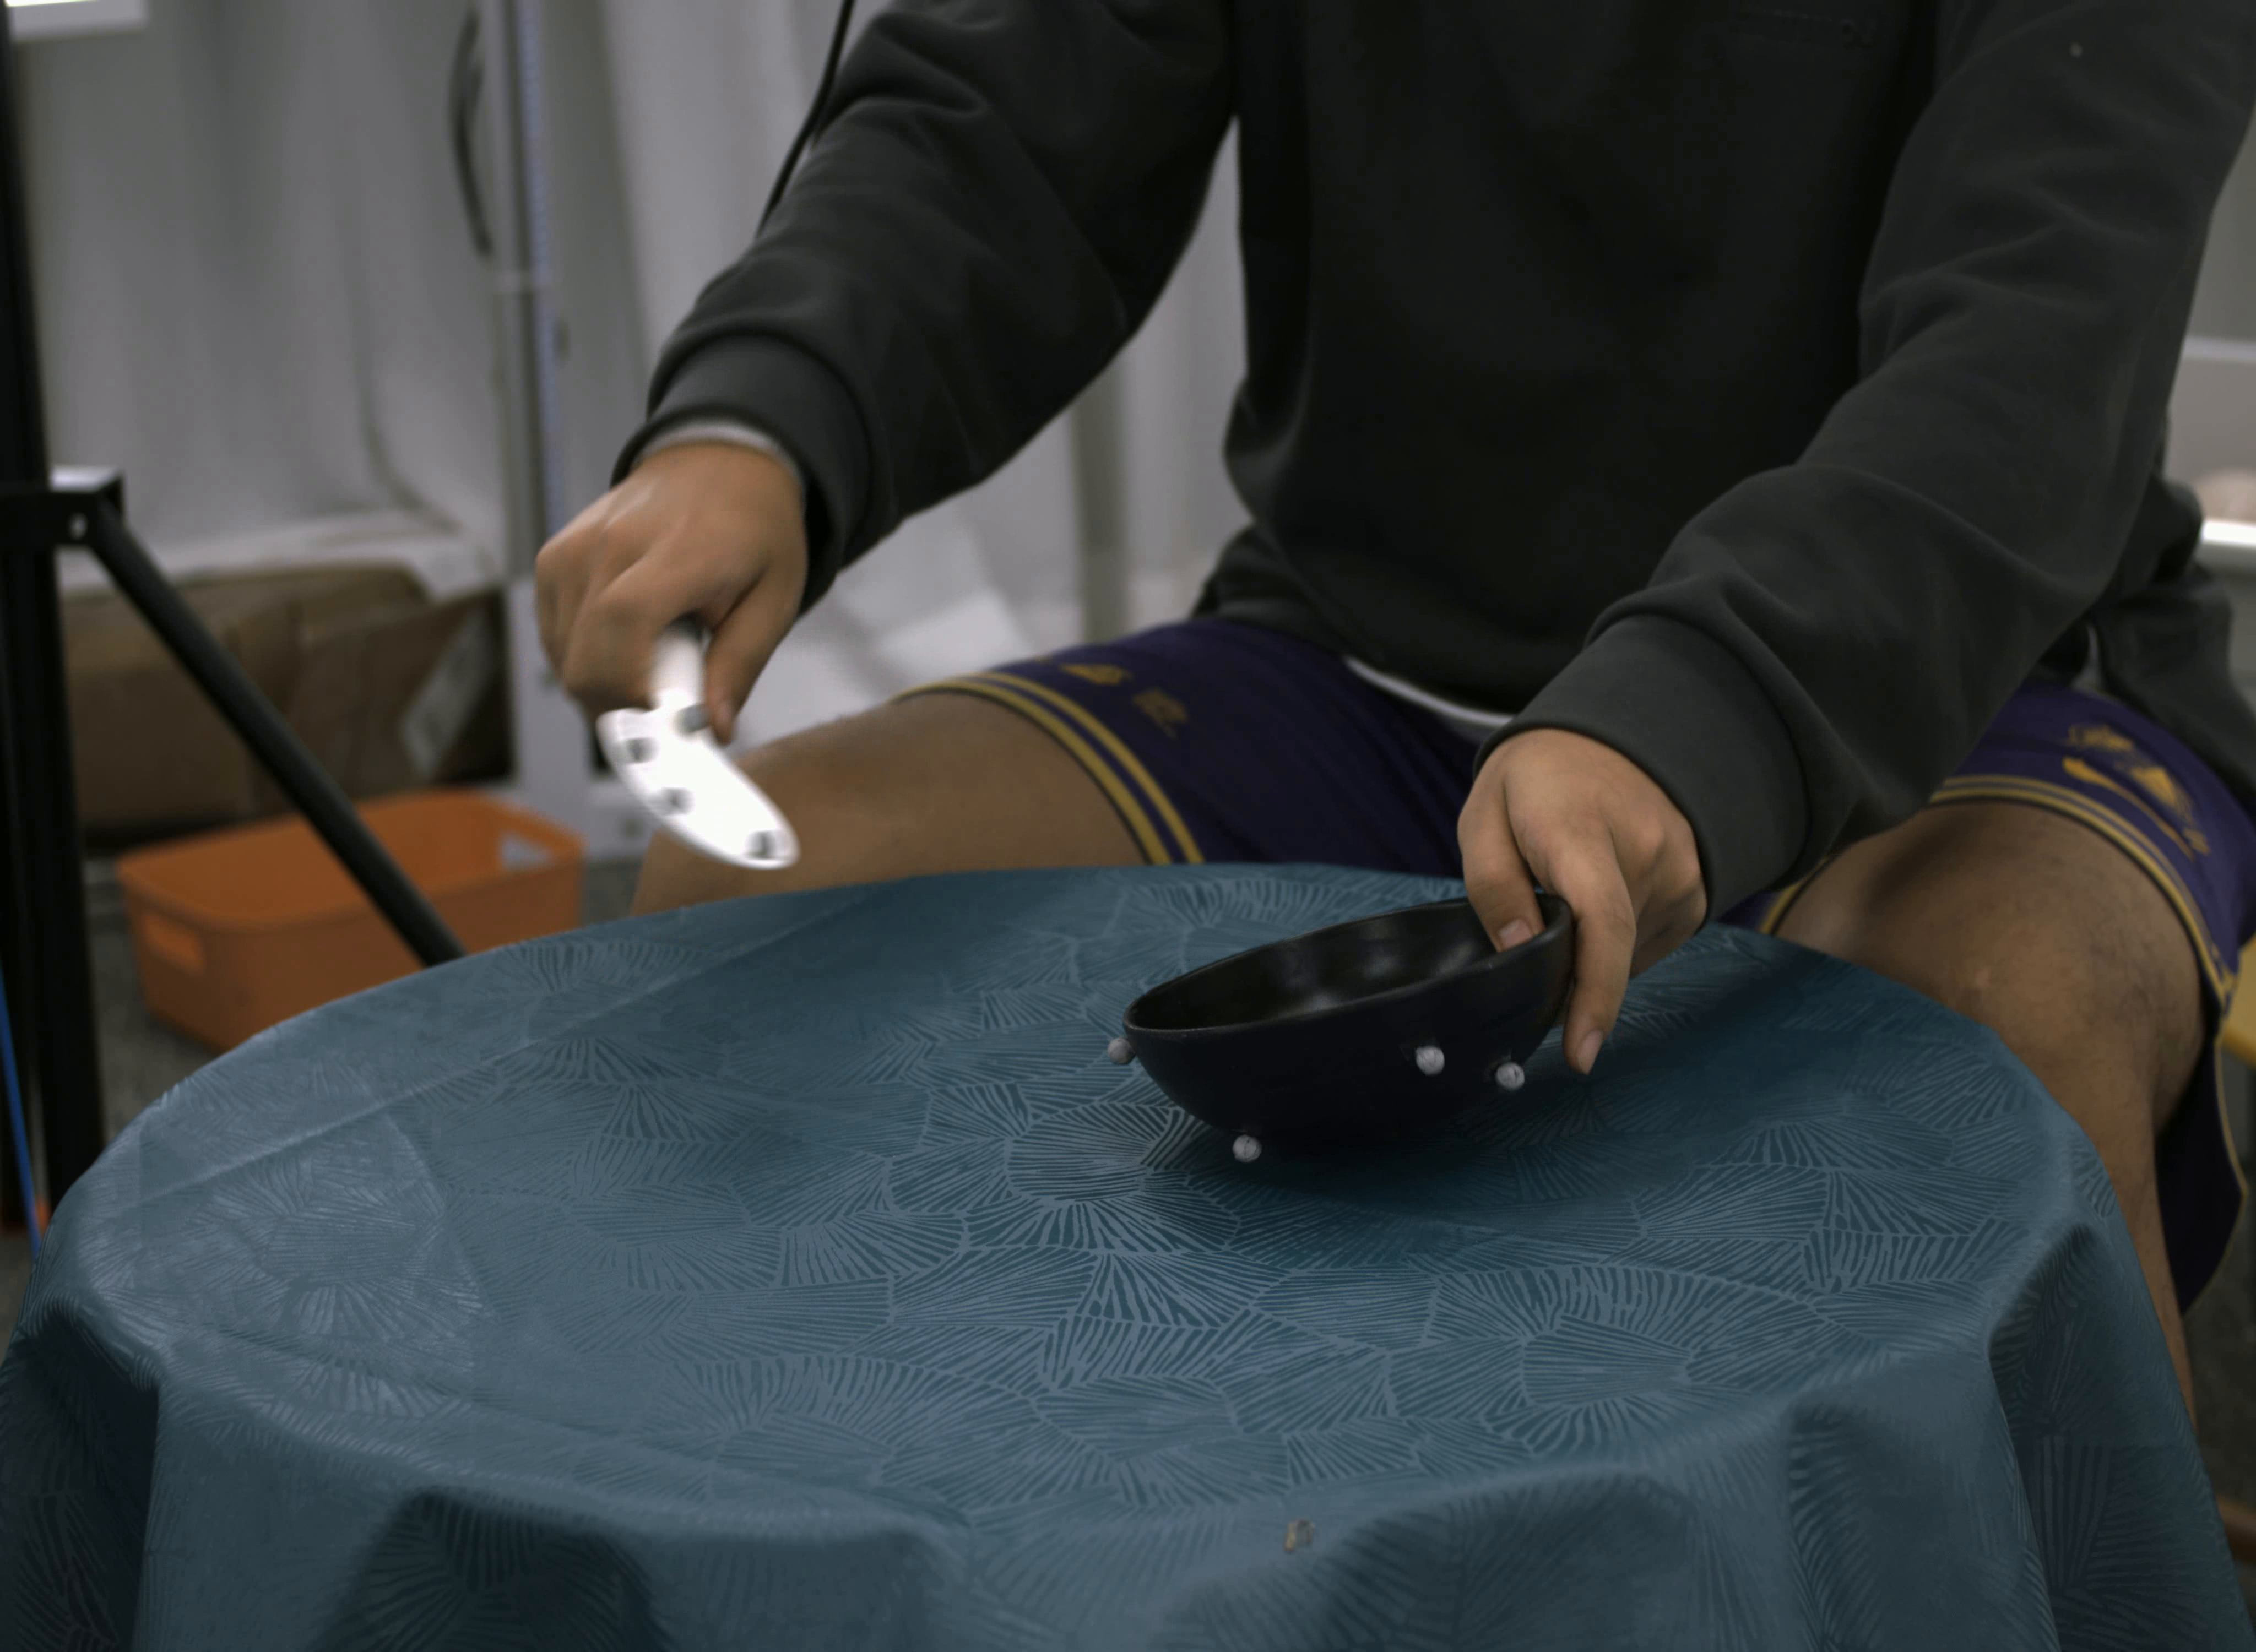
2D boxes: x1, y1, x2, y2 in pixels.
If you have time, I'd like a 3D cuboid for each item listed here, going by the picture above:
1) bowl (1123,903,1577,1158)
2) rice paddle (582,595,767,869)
[{"bbox_3d":[0.071,0.065,1.584,0.139,0.050,0.140,-14,7,0],"label":"bowl"},{"bbox_3d":[-0.149,-0.030,1.707,0.068,0.029,0.207,32,11,-17],"label":"rice paddle"}]
